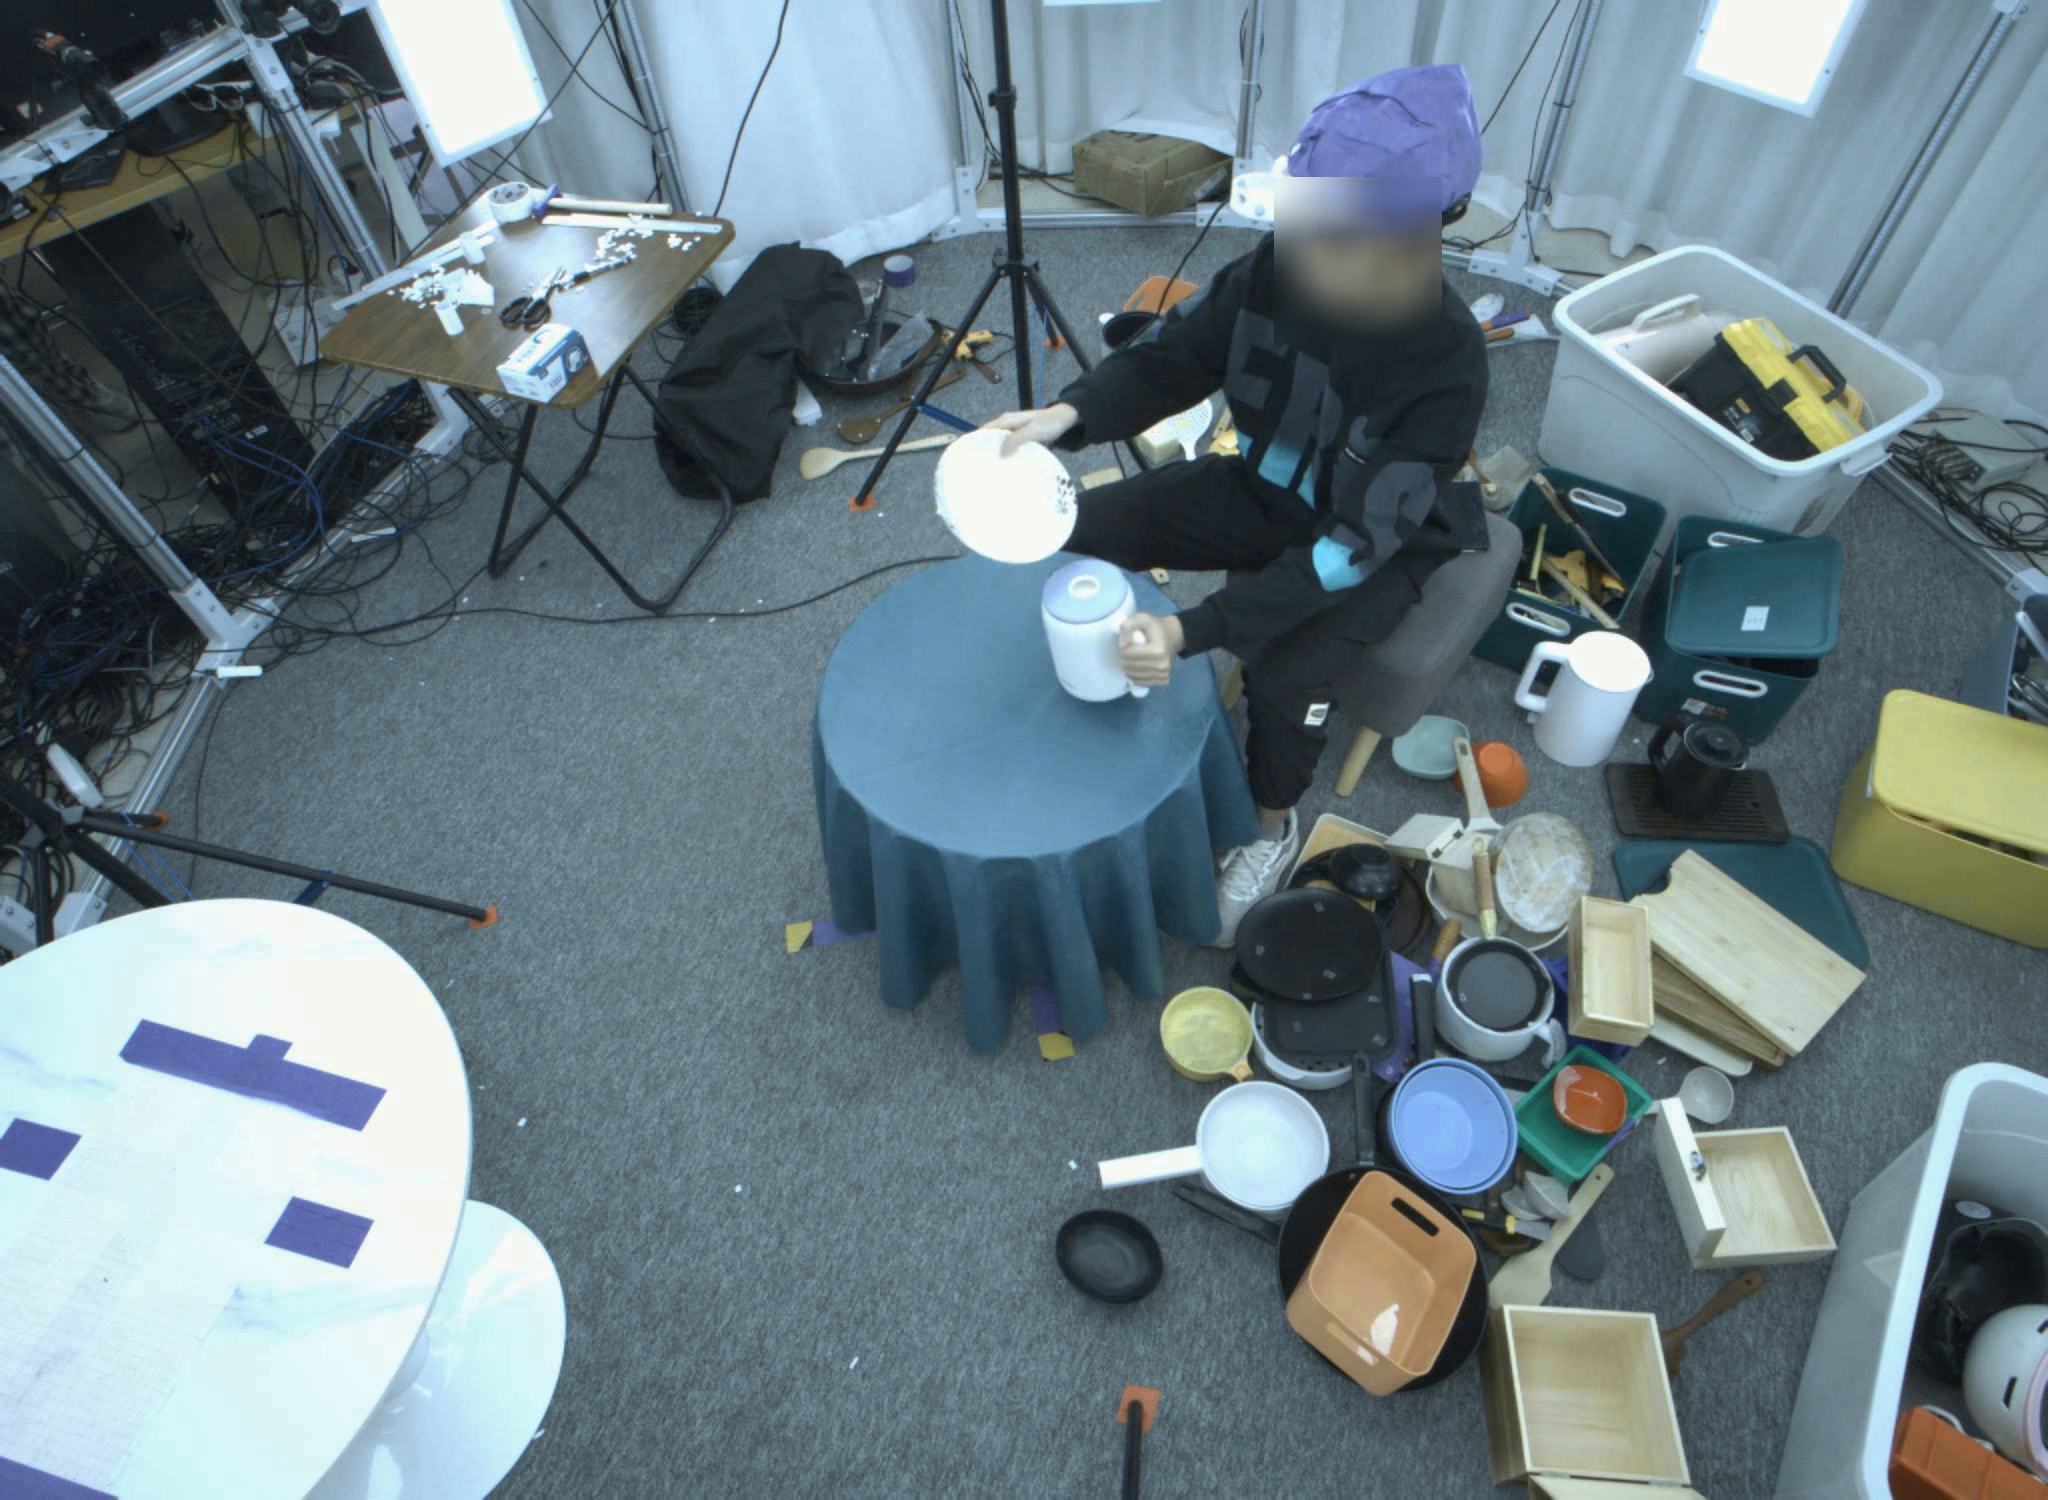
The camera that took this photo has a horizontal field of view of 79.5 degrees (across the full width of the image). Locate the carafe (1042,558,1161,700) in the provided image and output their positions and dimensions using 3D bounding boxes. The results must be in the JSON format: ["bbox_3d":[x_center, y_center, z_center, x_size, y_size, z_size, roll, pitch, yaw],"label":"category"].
[{"bbox_3d":[0.116,-0.158,1.731,0.187,0.185,0.133,37,70,29],"label":"carafe"}]

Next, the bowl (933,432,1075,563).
[{"bbox_3d":[-0.039,-0.333,1.680,0.207,0.077,0.202,8,69,-20],"label":"bowl"}]
